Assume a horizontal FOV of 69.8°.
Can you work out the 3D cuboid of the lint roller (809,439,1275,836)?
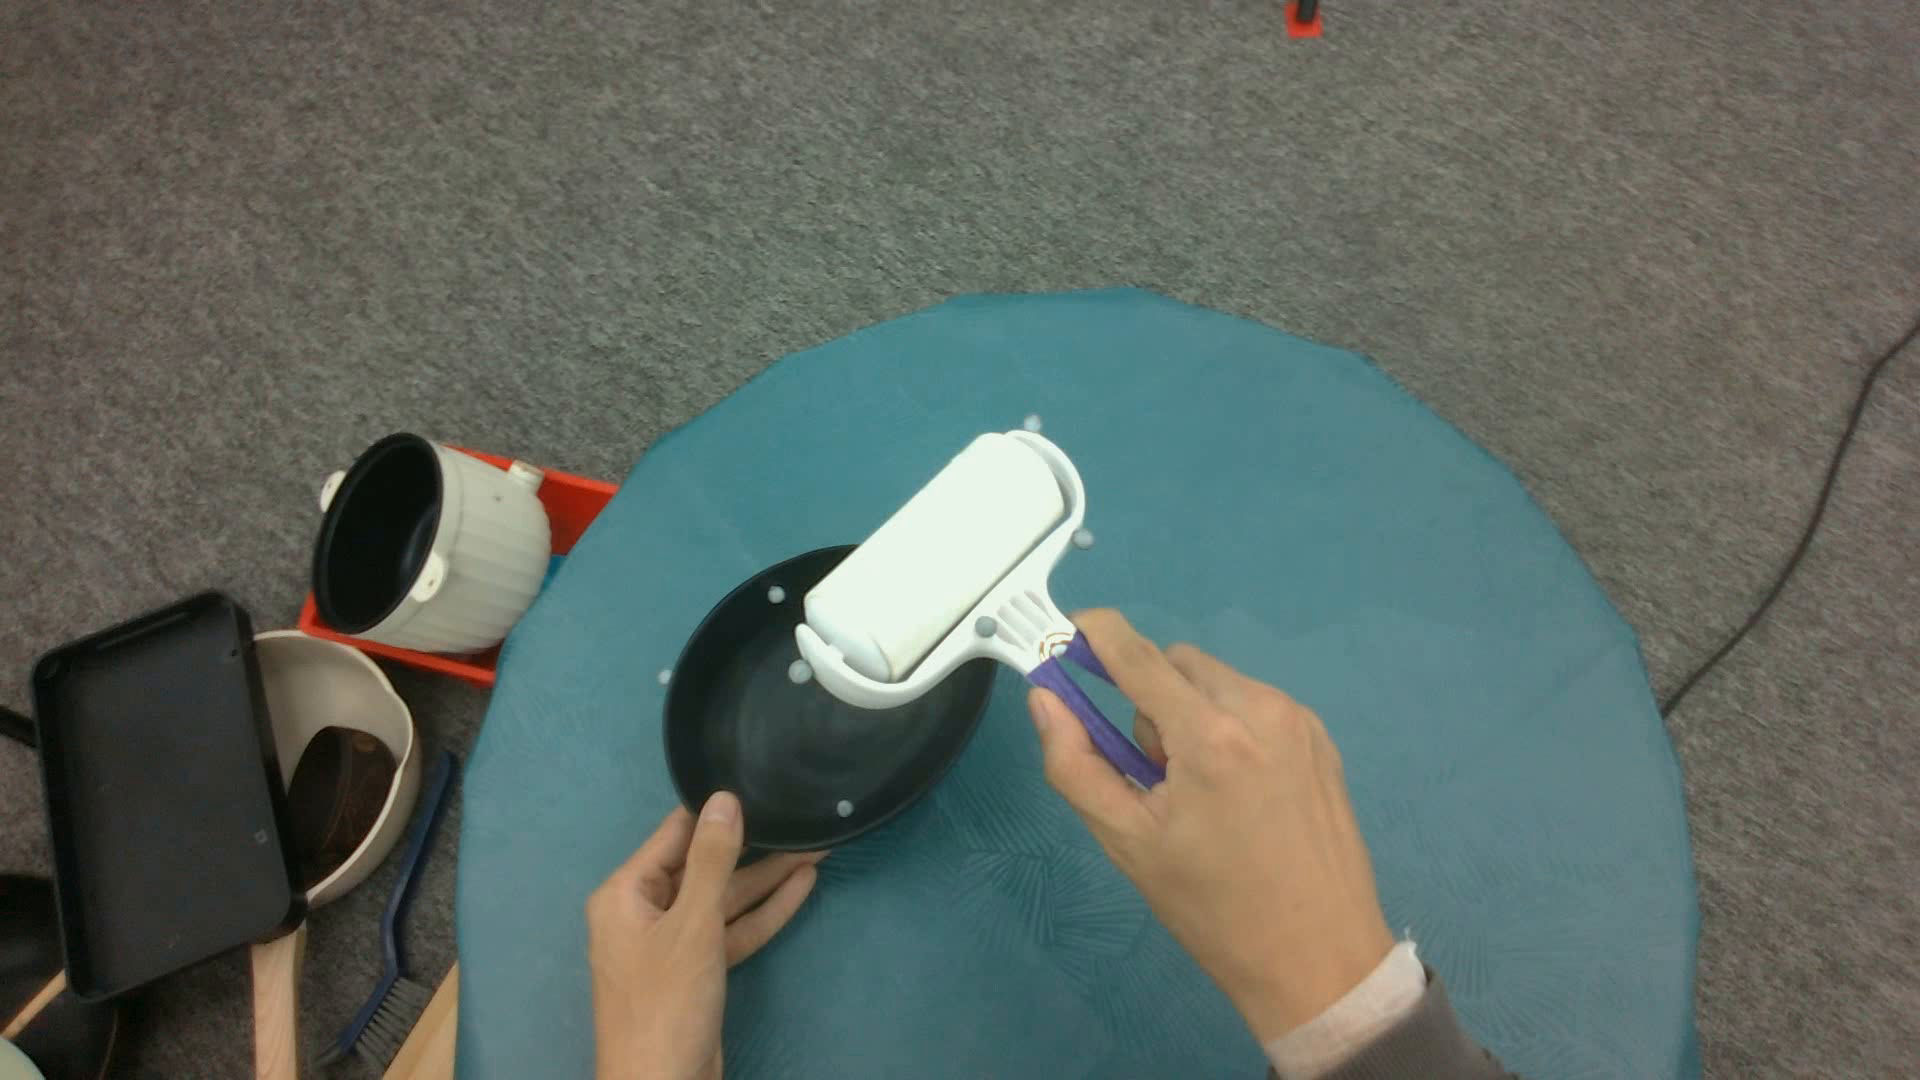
[{"bbox_3d":[0.043,0.046,0.518,0.181,0.050,0.133,37,62,23],"label":"lint roller"}]

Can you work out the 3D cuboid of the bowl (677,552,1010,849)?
[{"bbox_3d":[-0.055,0.082,0.683,0.170,0.066,0.137,-36,71,-14],"label":"bowl"}]
